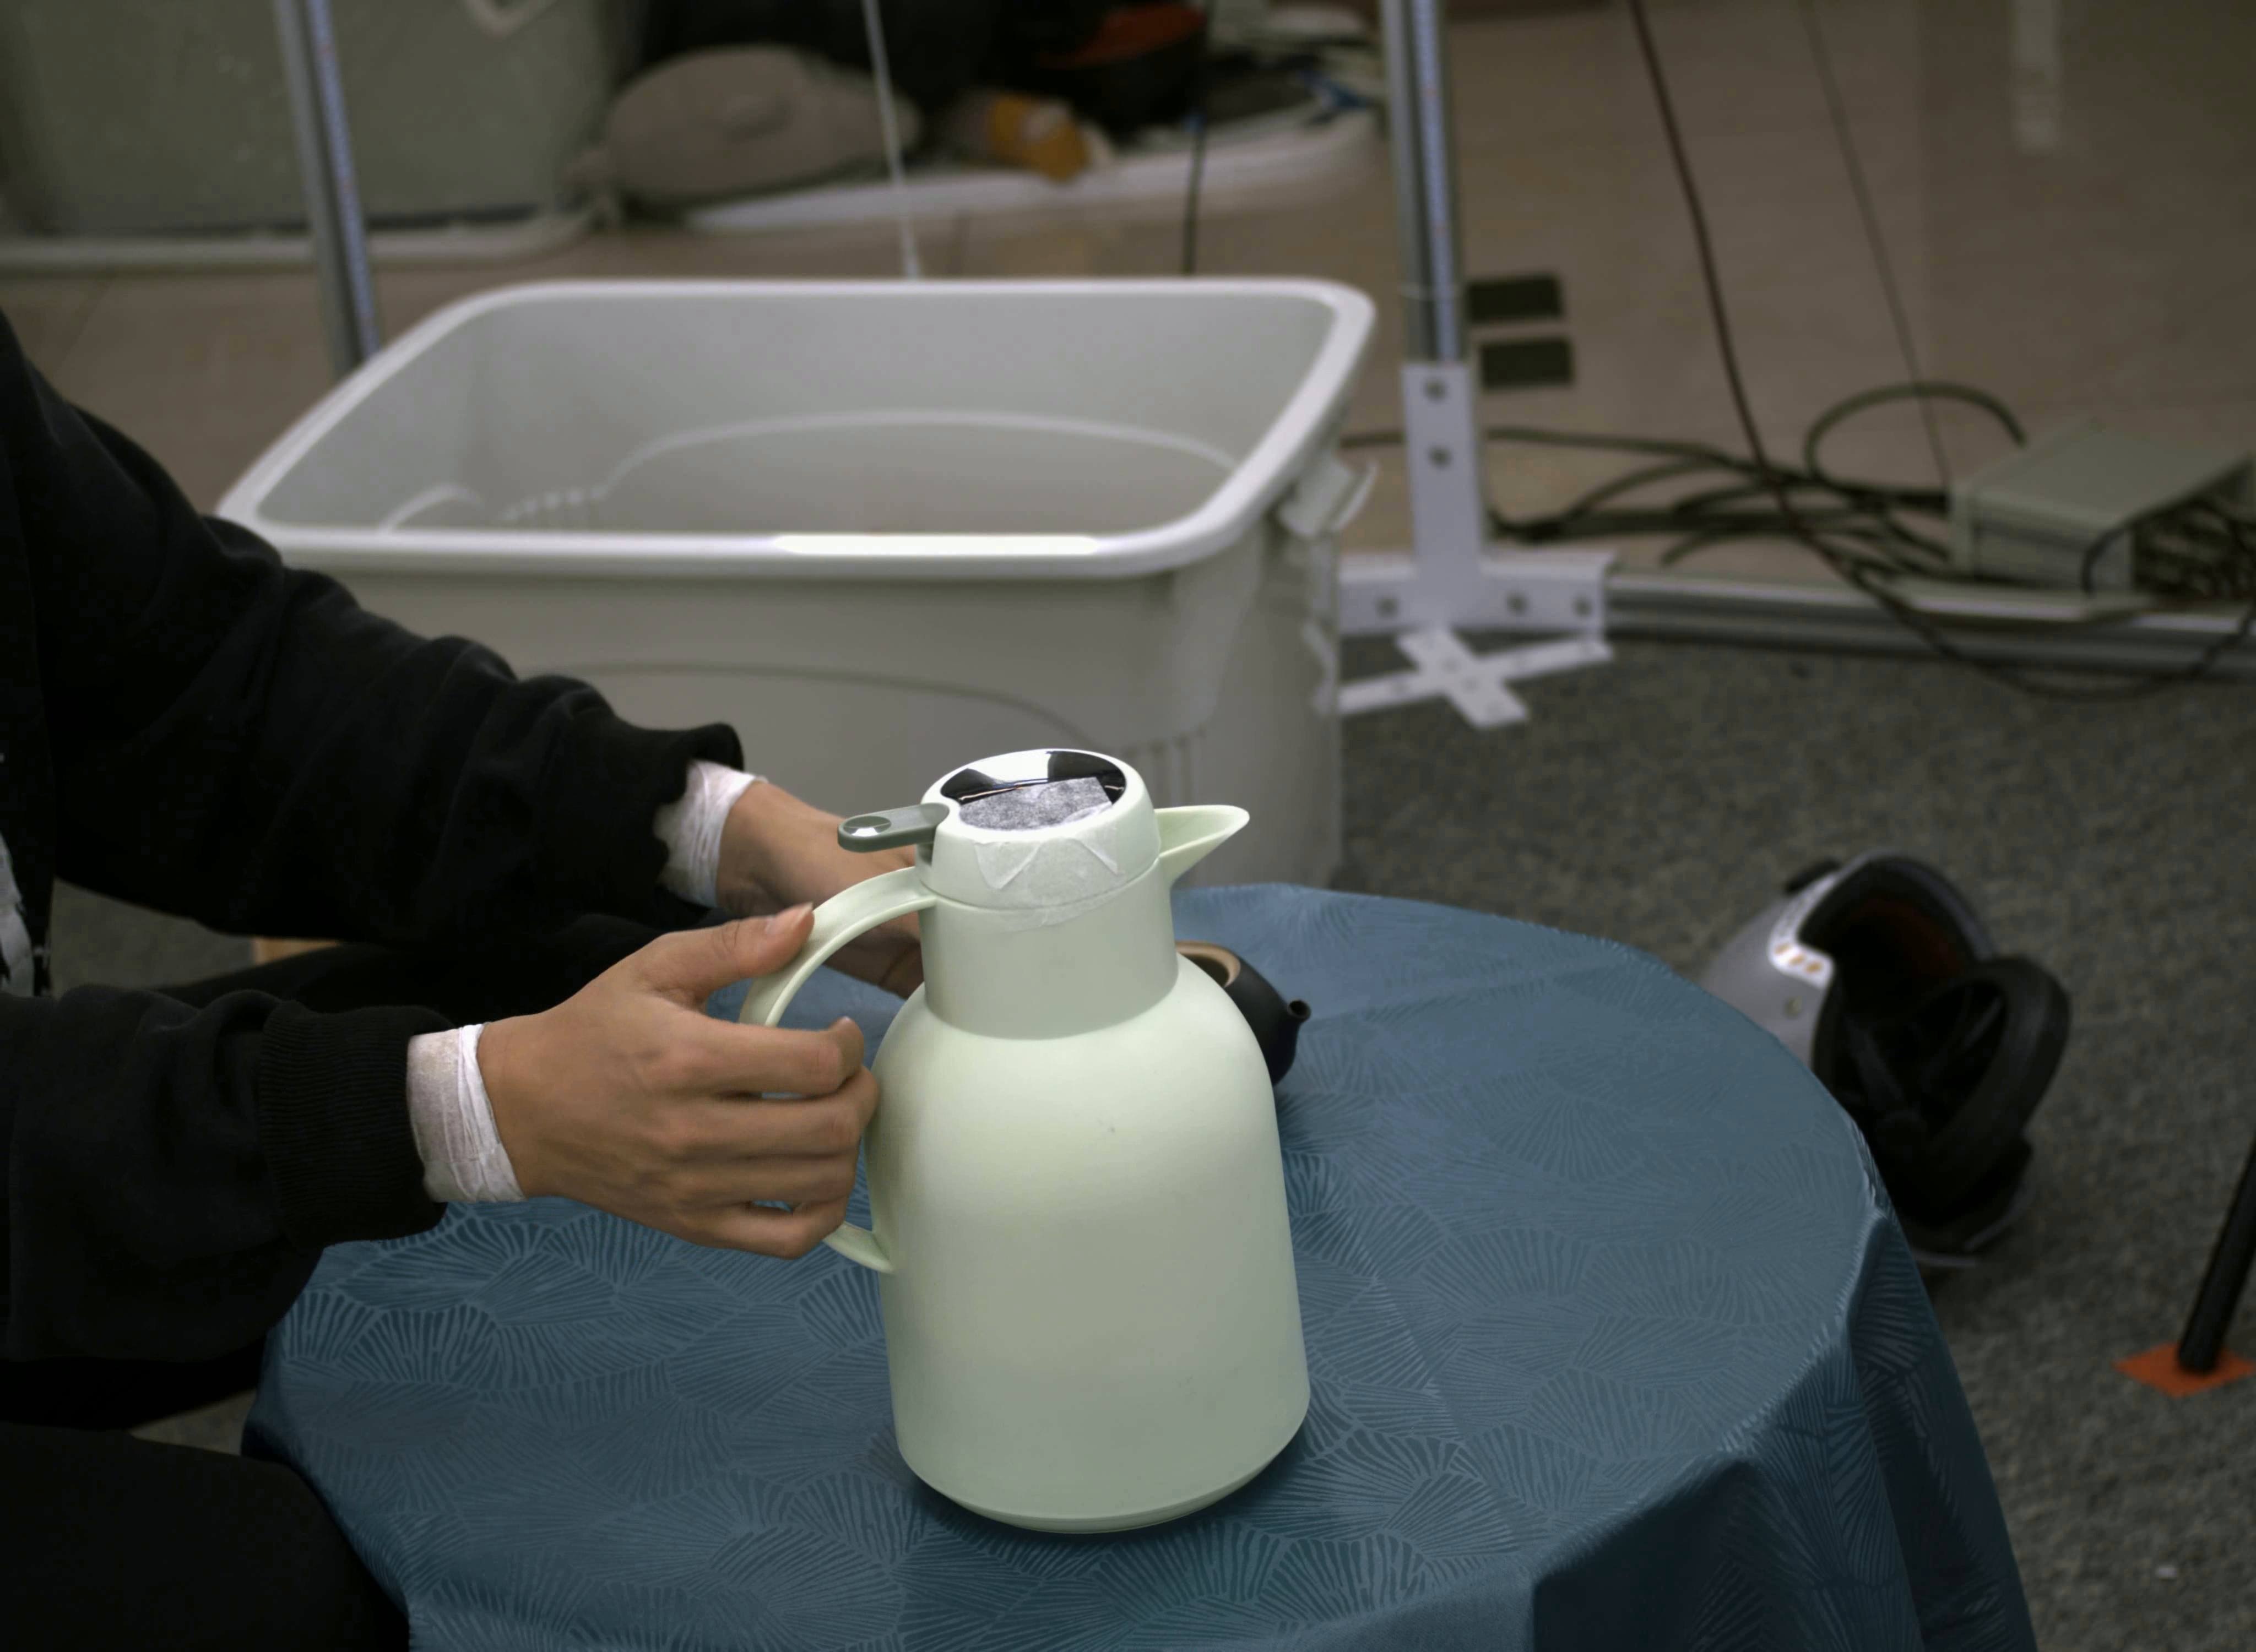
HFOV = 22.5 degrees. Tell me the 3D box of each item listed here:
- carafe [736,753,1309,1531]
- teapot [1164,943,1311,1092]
[{"bbox_3d":[-0.034,0.106,1.929,0.186,0.261,0.142,-16,29,-12],"label":"carafe"},{"bbox_3d":[0.017,0.081,2.207,0.132,0.054,0.090,13,30,34],"label":"teapot"}]
